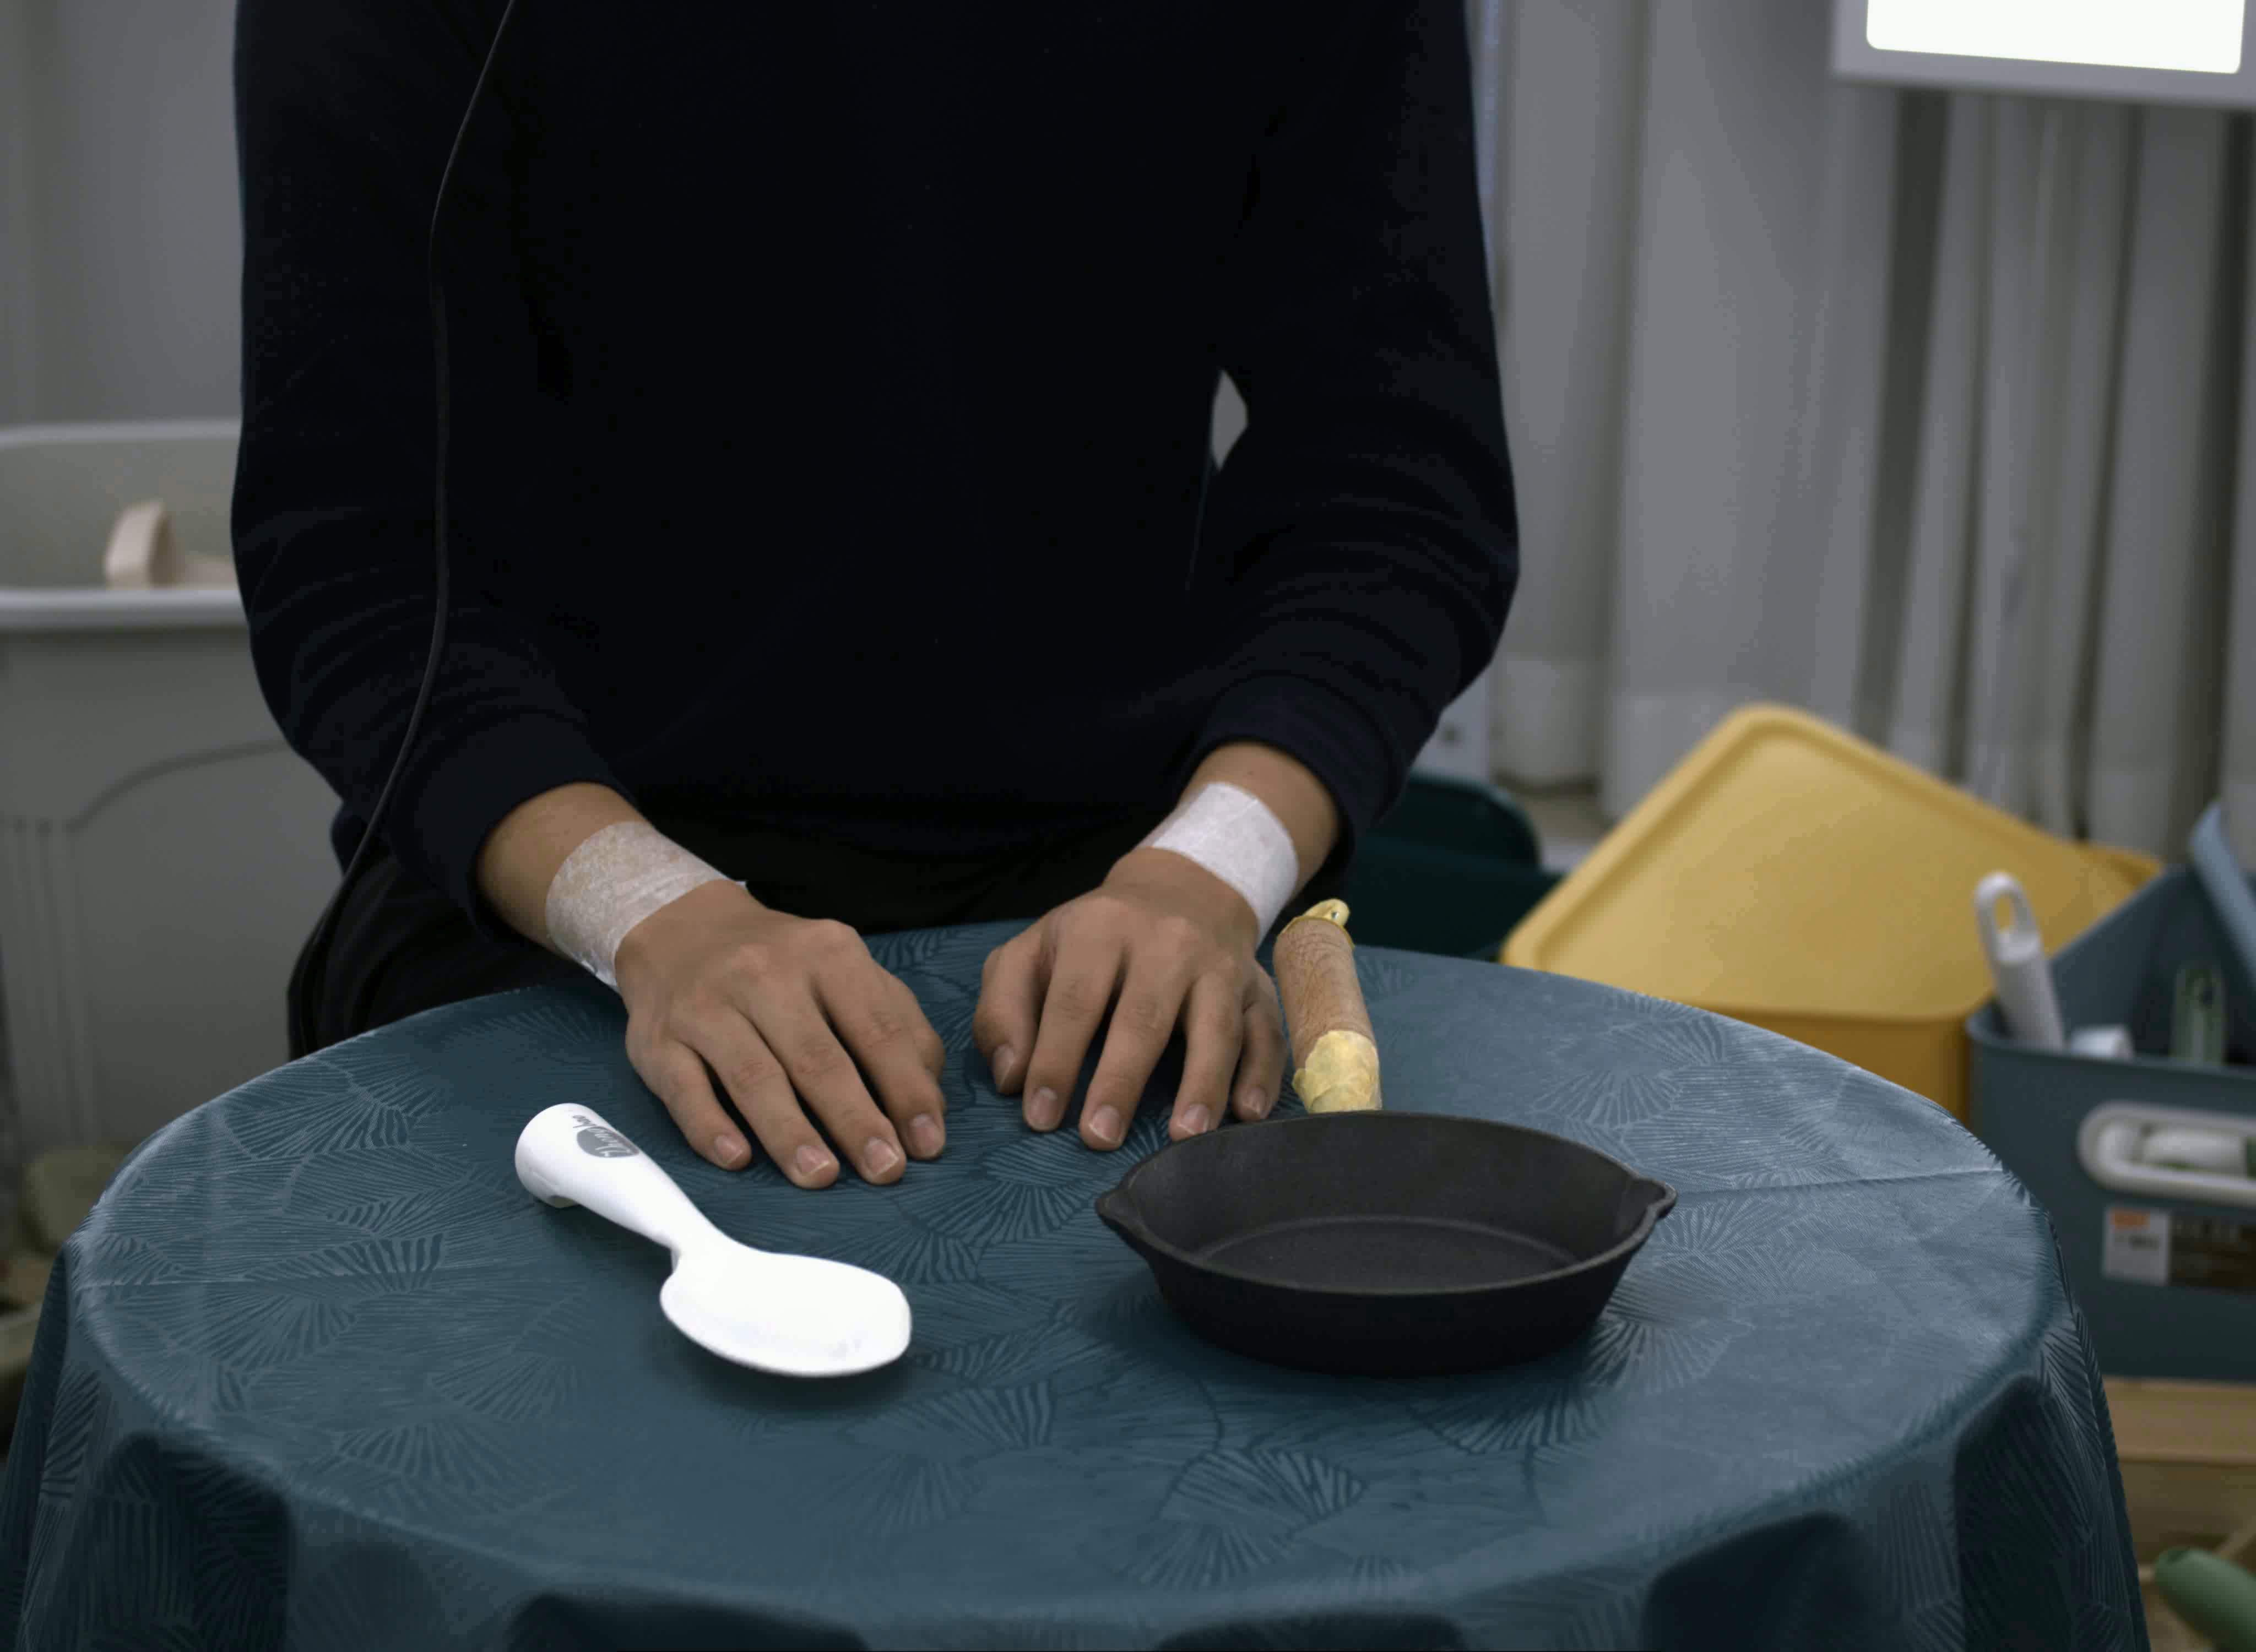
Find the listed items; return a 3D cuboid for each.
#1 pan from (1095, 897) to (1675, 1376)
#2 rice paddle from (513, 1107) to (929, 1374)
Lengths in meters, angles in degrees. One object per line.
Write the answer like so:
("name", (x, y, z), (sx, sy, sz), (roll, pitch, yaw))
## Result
("pan", (0.071, 0.091, 1.606), (0.168, 0.050, 0.322), (0, 17, -2))
("rice paddle", (-0.123, 0.122, 1.529), (0.069, 0.029, 0.202), (-11, 19, -29))
